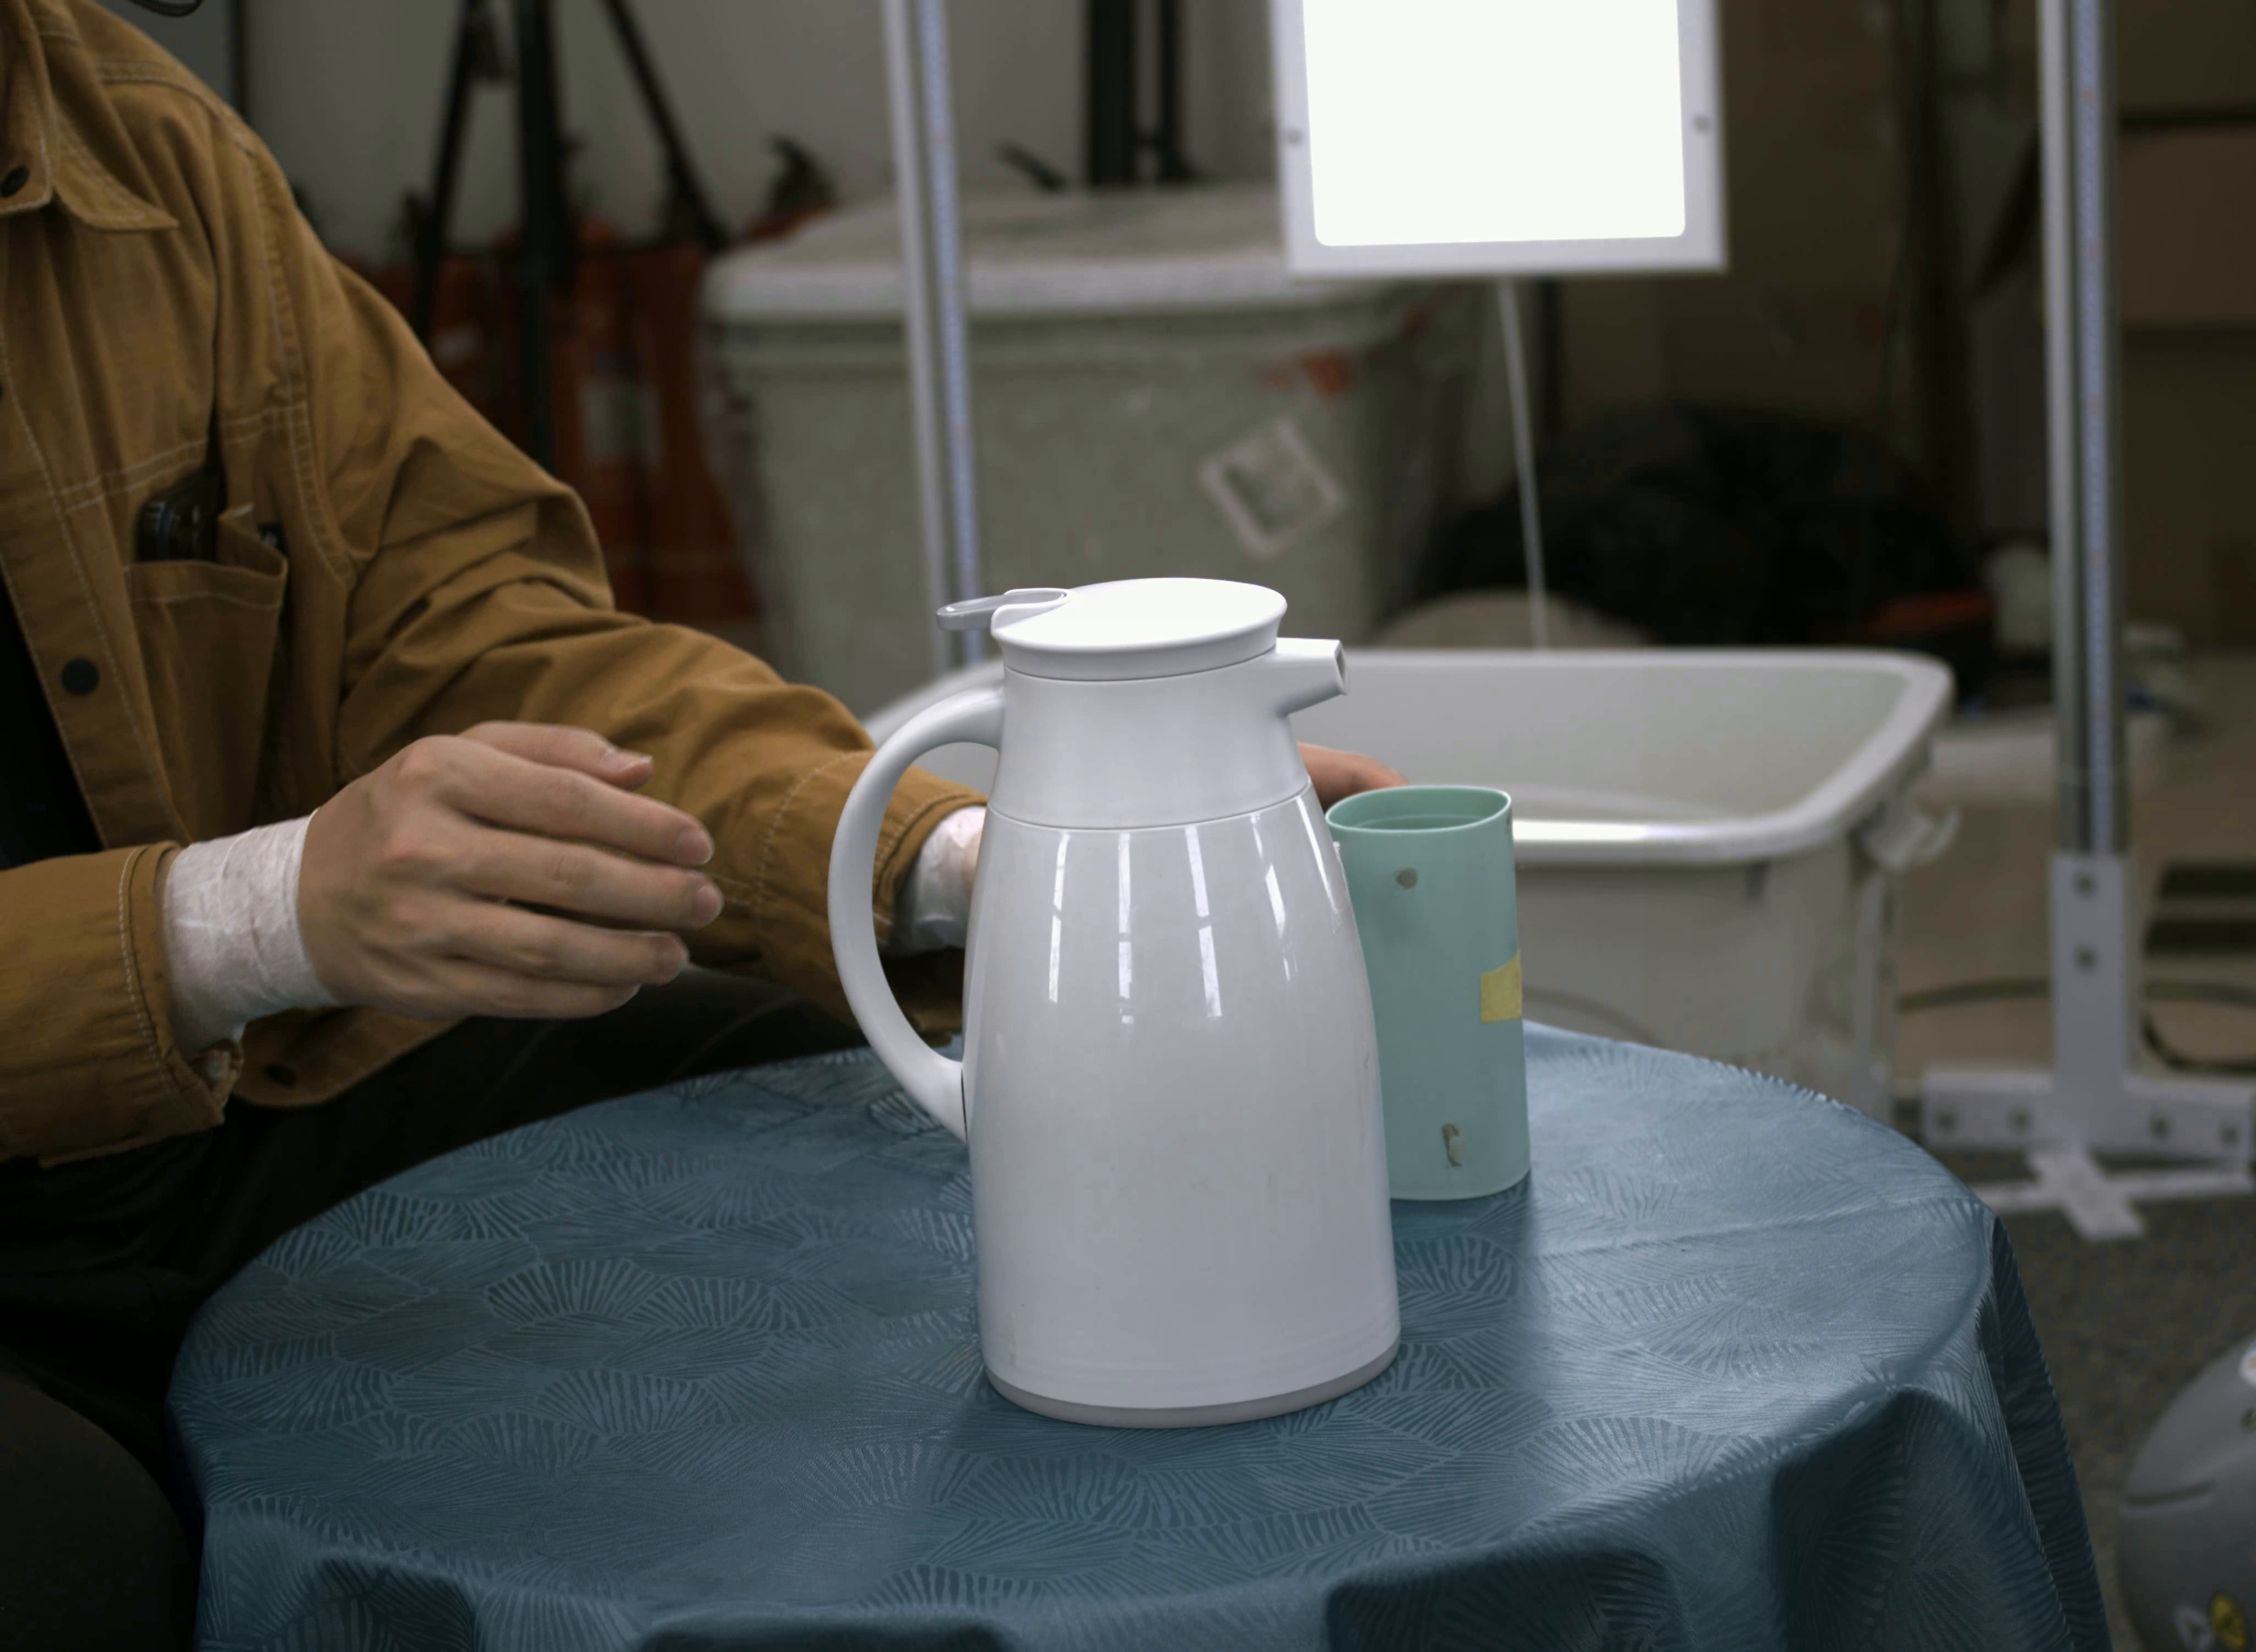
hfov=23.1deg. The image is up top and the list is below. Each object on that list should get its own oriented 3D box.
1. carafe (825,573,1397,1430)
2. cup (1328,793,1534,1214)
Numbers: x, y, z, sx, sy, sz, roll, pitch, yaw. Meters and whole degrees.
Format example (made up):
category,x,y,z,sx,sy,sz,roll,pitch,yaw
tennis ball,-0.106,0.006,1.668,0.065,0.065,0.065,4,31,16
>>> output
category,x,y,z,sx,sy,sz,roll,pitch,yaw
carafe,-0.008,0.048,1.700,0.168,0.249,0.131,-3,14,10
cup,0.103,0.060,1.873,0.066,0.133,0.066,-4,14,0
